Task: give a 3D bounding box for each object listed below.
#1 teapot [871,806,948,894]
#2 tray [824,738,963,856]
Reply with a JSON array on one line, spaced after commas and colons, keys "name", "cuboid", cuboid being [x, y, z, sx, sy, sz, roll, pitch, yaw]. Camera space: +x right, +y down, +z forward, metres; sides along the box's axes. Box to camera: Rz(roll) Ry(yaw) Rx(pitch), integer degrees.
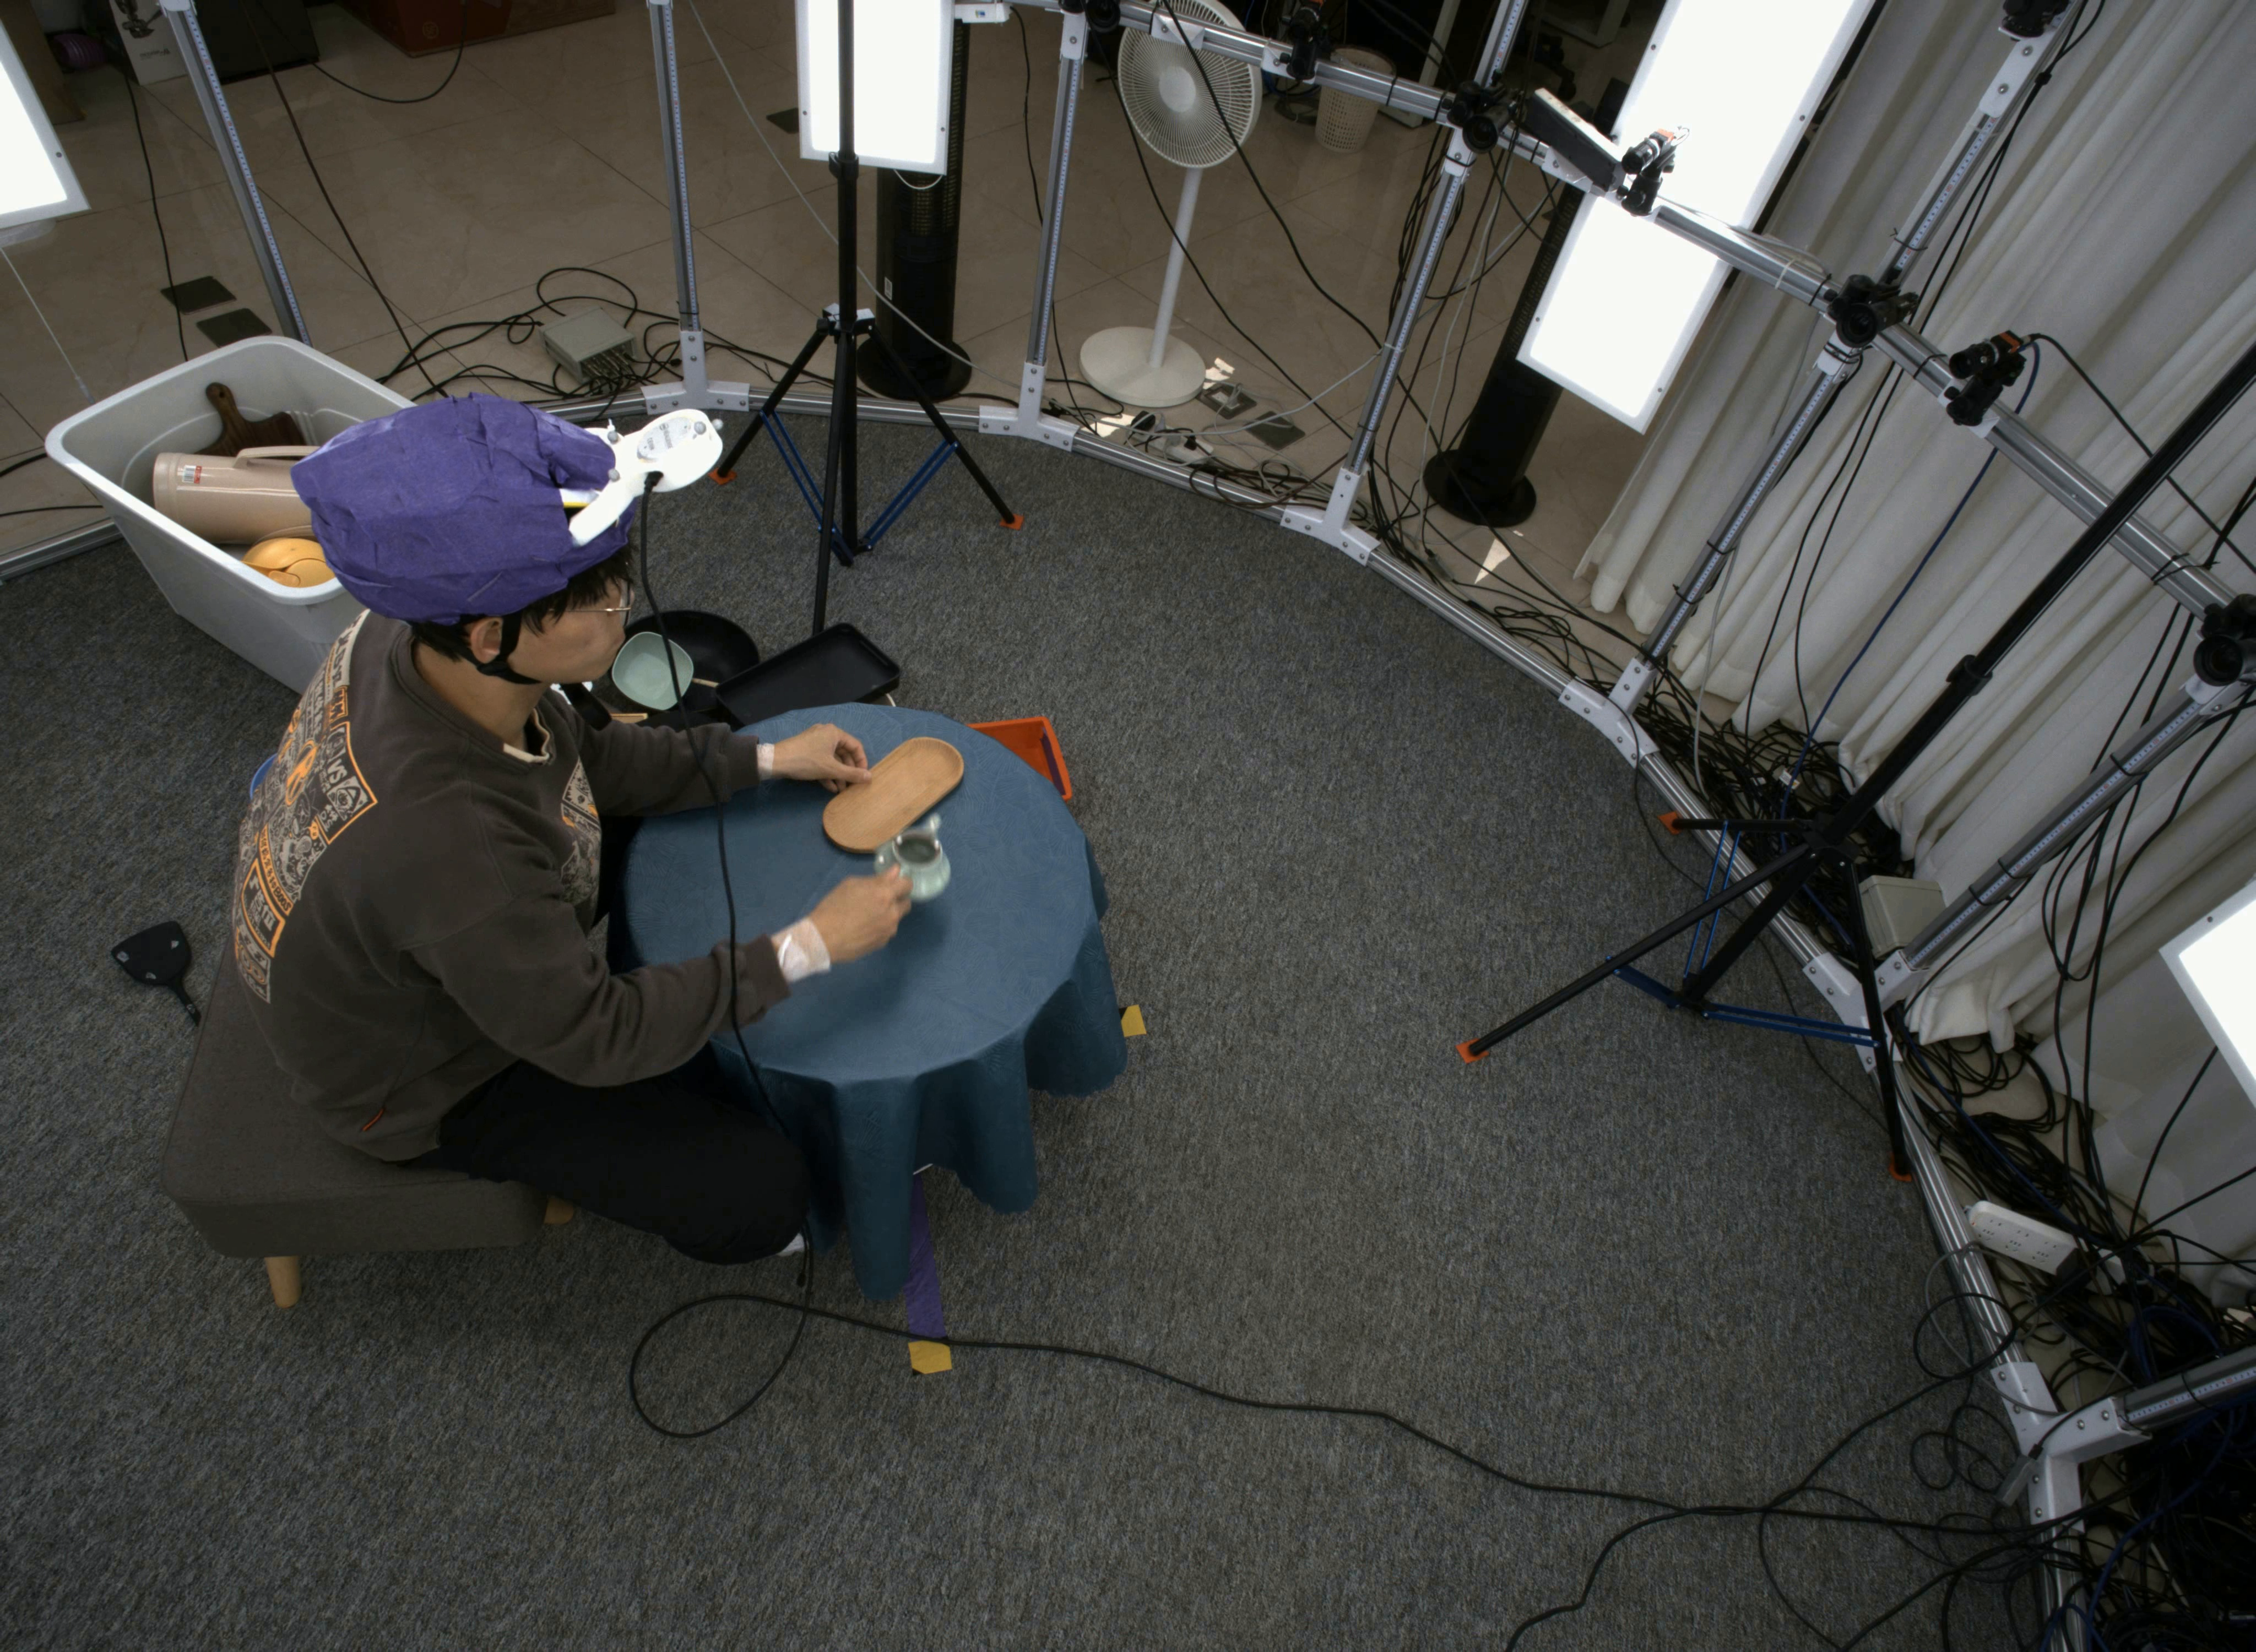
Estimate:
[{"name": "teapot", "cuboid": [-0.271, 0.038, 1.620, 0.096, 0.062, 0.135, 23, 43, -4]}, {"name": "tray", "cuboid": [-0.320, -0.041, 1.783, 0.099, 0.021, 0.231, 34, 55, 13]}]
